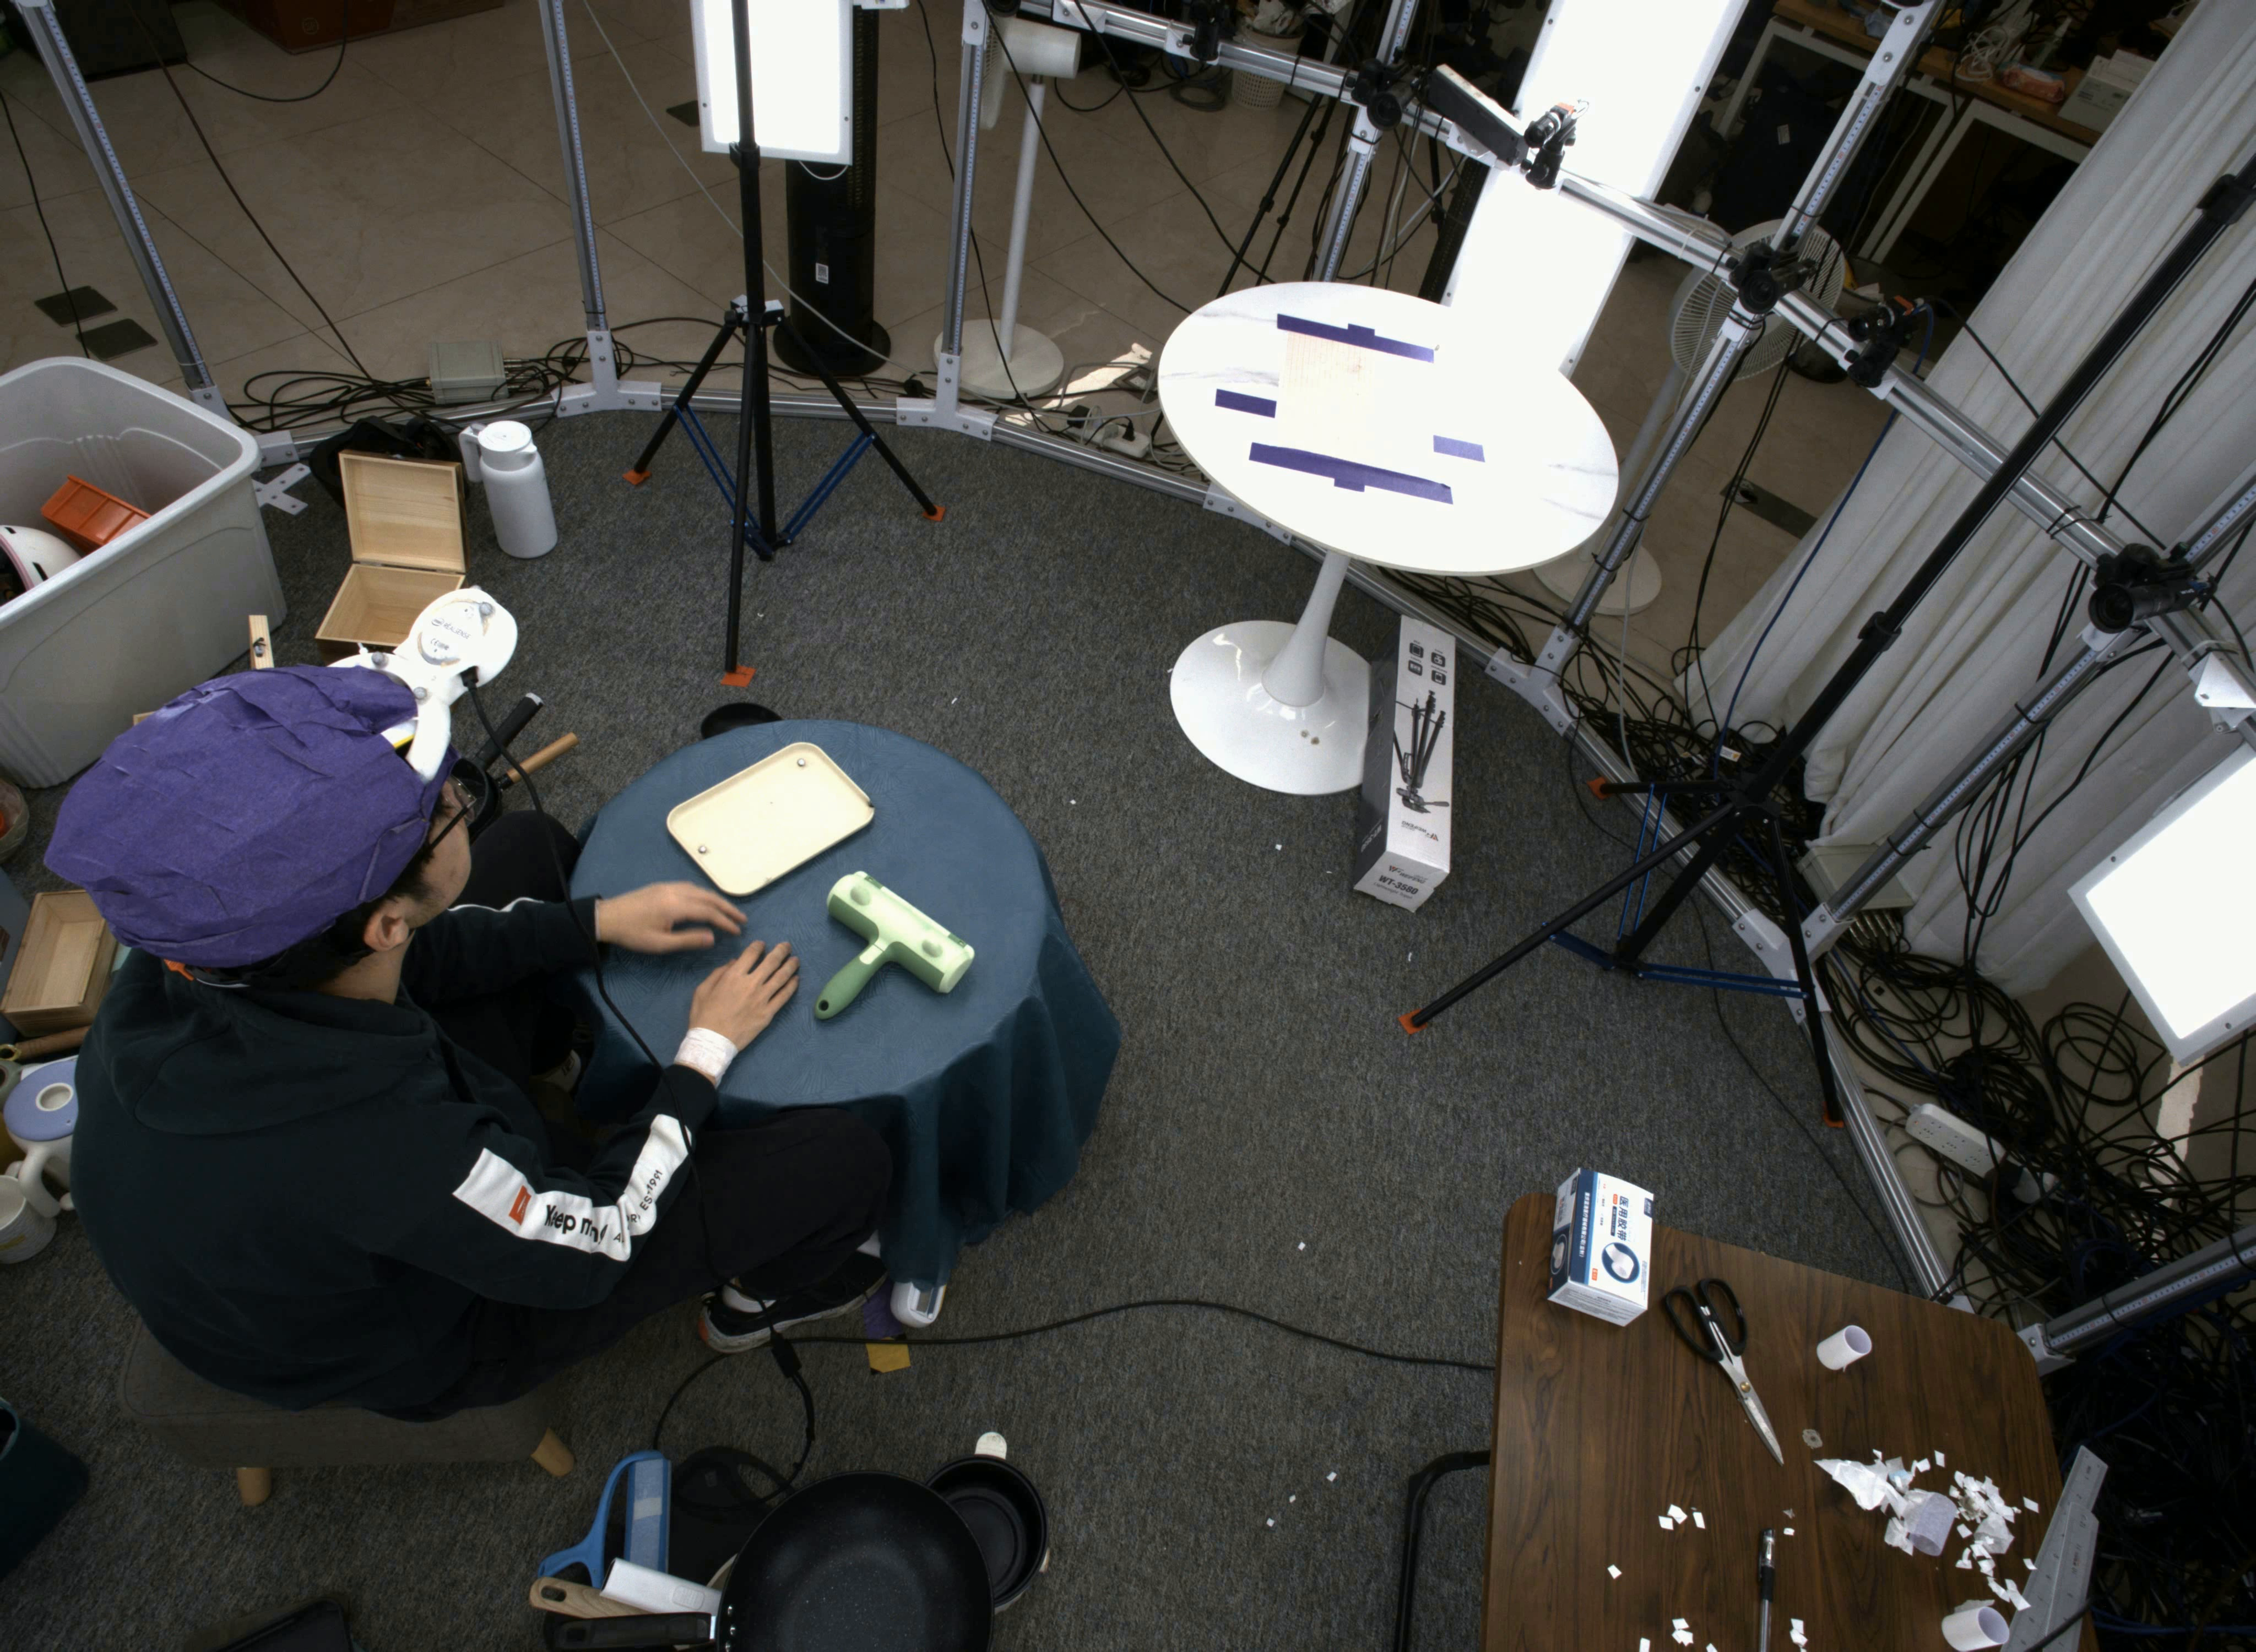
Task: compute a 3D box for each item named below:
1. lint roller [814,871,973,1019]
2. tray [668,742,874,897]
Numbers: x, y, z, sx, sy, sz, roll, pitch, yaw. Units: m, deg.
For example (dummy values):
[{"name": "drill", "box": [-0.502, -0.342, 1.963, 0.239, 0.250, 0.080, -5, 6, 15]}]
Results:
[{"name": "lint roller", "box": [-0.318, 0.156, 1.593, 0.195, 0.084, 0.183, 34, 49, 11]}, {"name": "tray", "box": [-0.471, -0.012, 1.715, 0.167, 0.018, 0.240, 42, 55, 18]}]
